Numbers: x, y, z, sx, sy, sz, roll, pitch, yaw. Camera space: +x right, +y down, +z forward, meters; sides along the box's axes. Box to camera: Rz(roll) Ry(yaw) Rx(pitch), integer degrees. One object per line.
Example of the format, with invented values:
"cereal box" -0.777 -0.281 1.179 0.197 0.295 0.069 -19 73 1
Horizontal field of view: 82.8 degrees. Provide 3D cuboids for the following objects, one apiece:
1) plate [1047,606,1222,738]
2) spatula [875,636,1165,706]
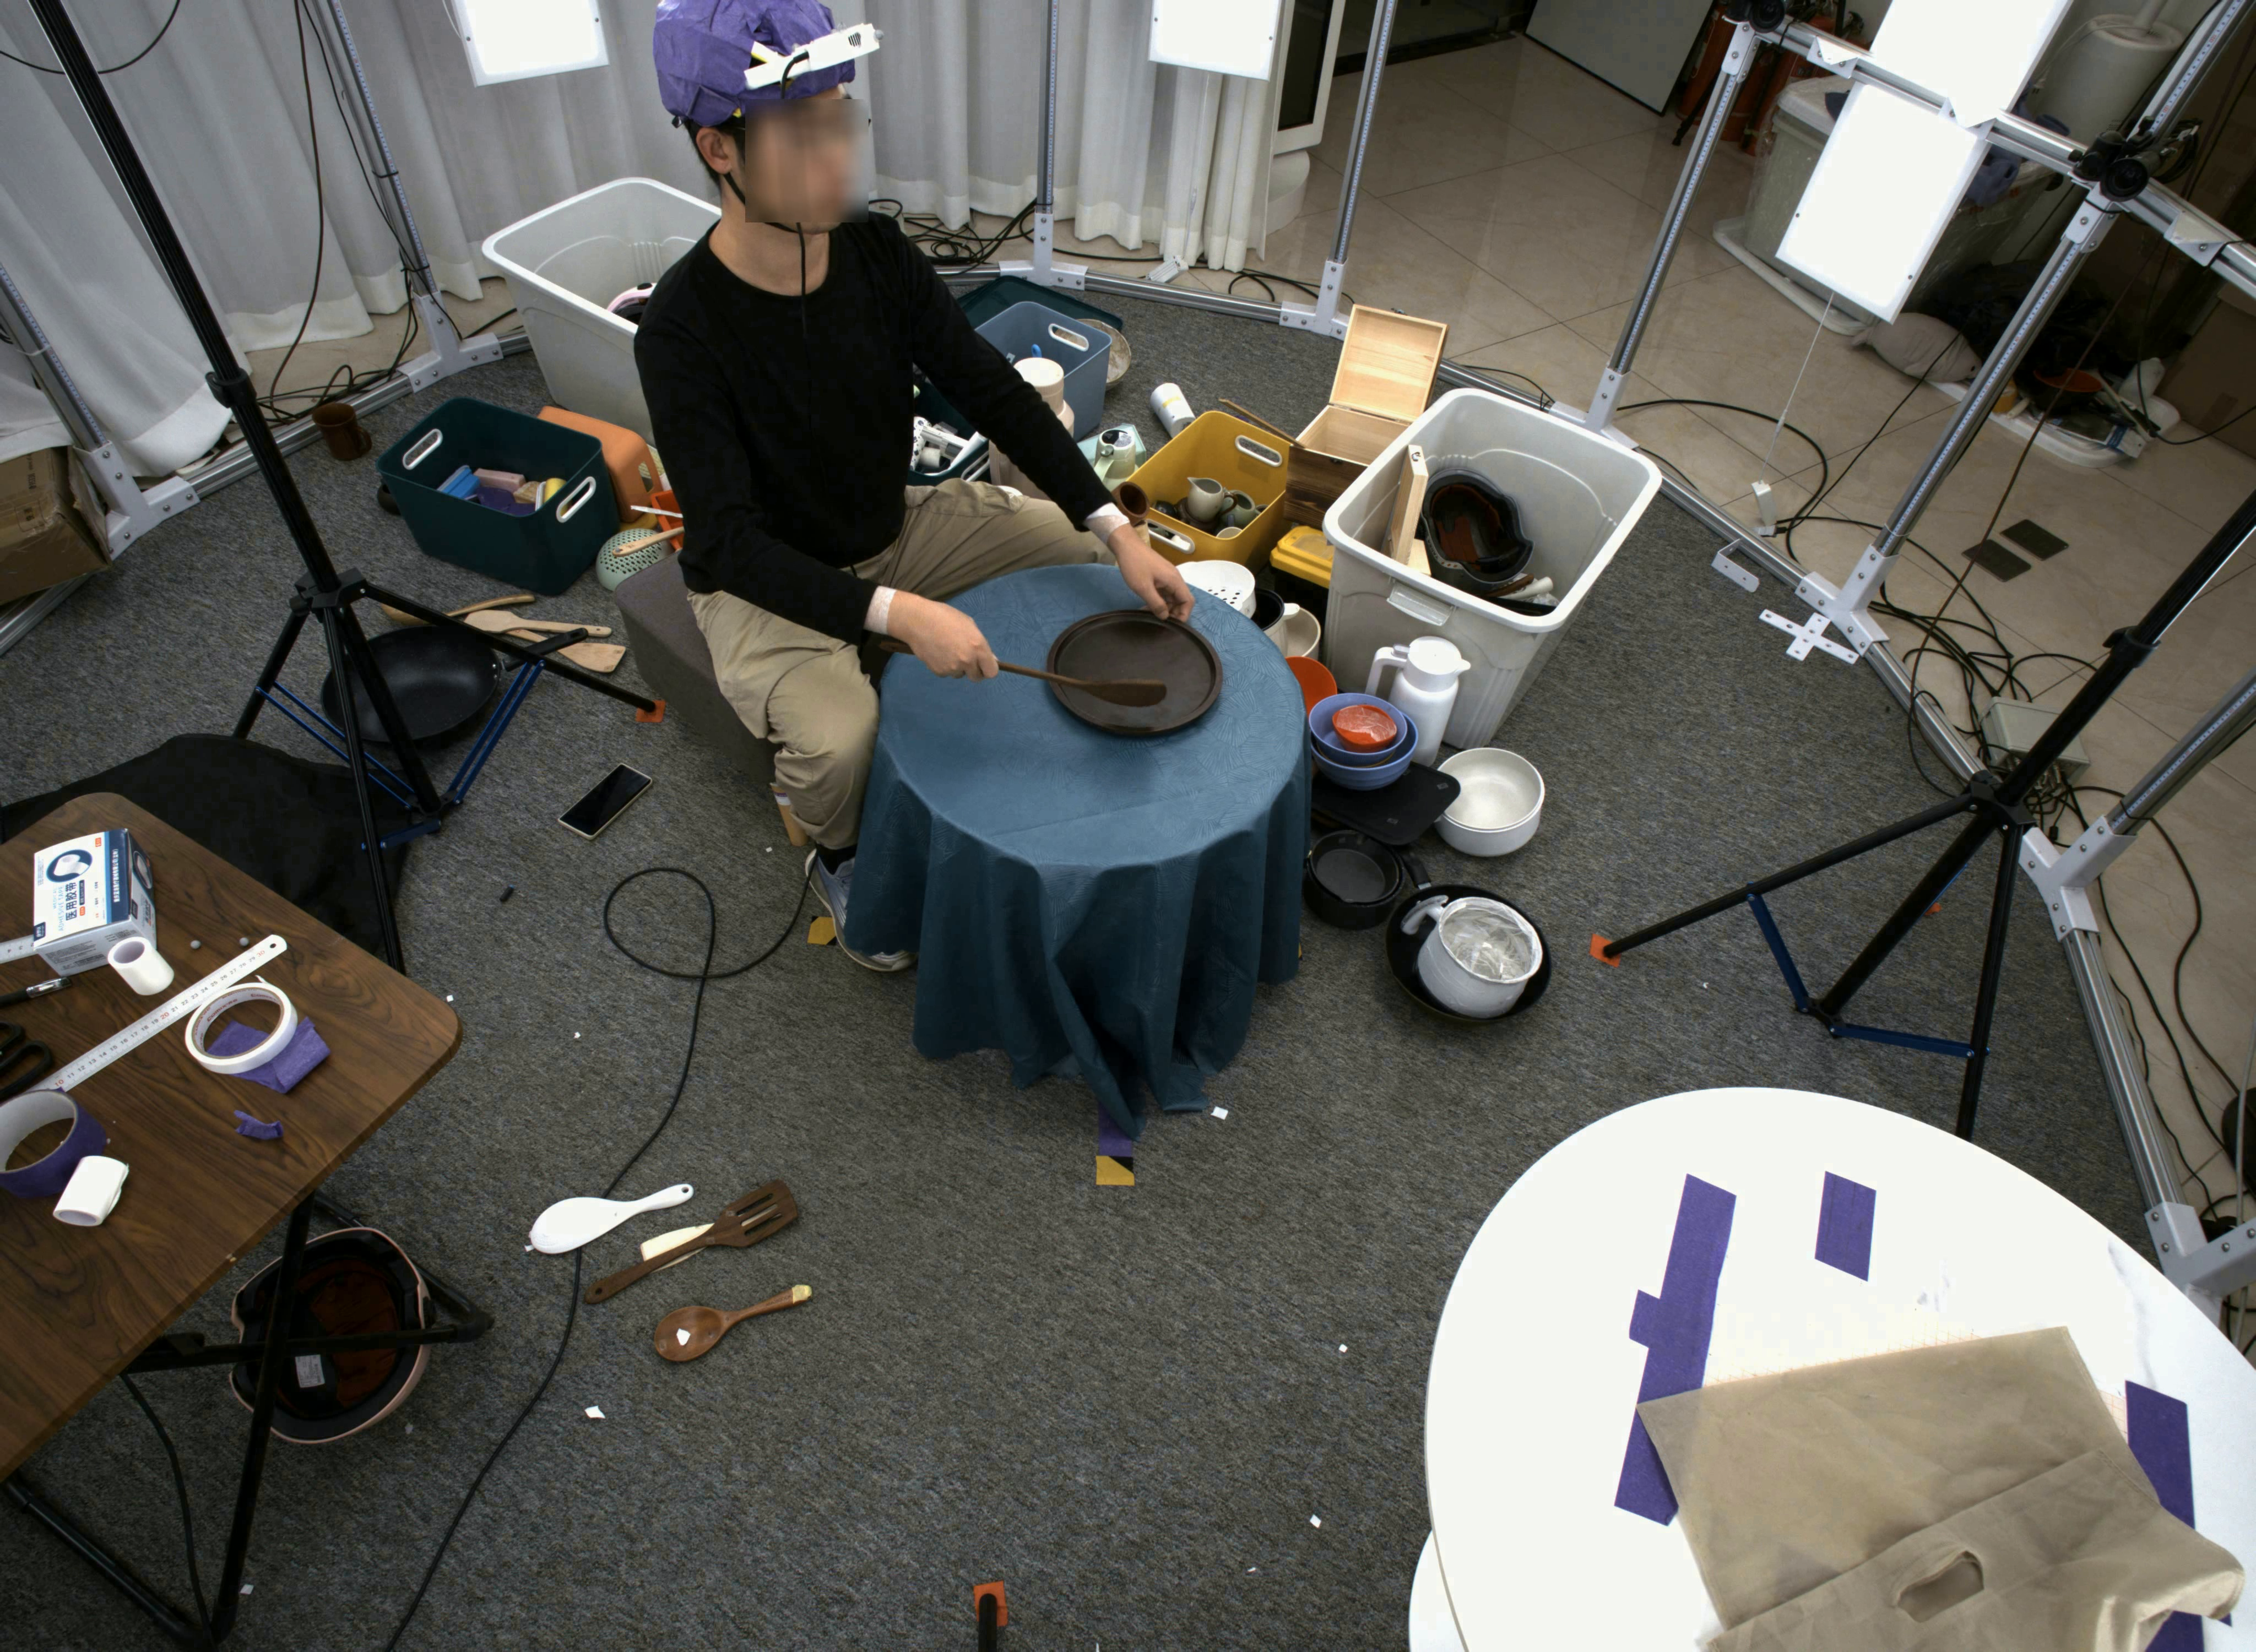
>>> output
"plate" 0.009 -0.220 1.846 0.254 0.028 0.261 1 50 -2
"spatula" -0.140 -0.208 1.704 0.385 0.095 0.016 11 73 -7
